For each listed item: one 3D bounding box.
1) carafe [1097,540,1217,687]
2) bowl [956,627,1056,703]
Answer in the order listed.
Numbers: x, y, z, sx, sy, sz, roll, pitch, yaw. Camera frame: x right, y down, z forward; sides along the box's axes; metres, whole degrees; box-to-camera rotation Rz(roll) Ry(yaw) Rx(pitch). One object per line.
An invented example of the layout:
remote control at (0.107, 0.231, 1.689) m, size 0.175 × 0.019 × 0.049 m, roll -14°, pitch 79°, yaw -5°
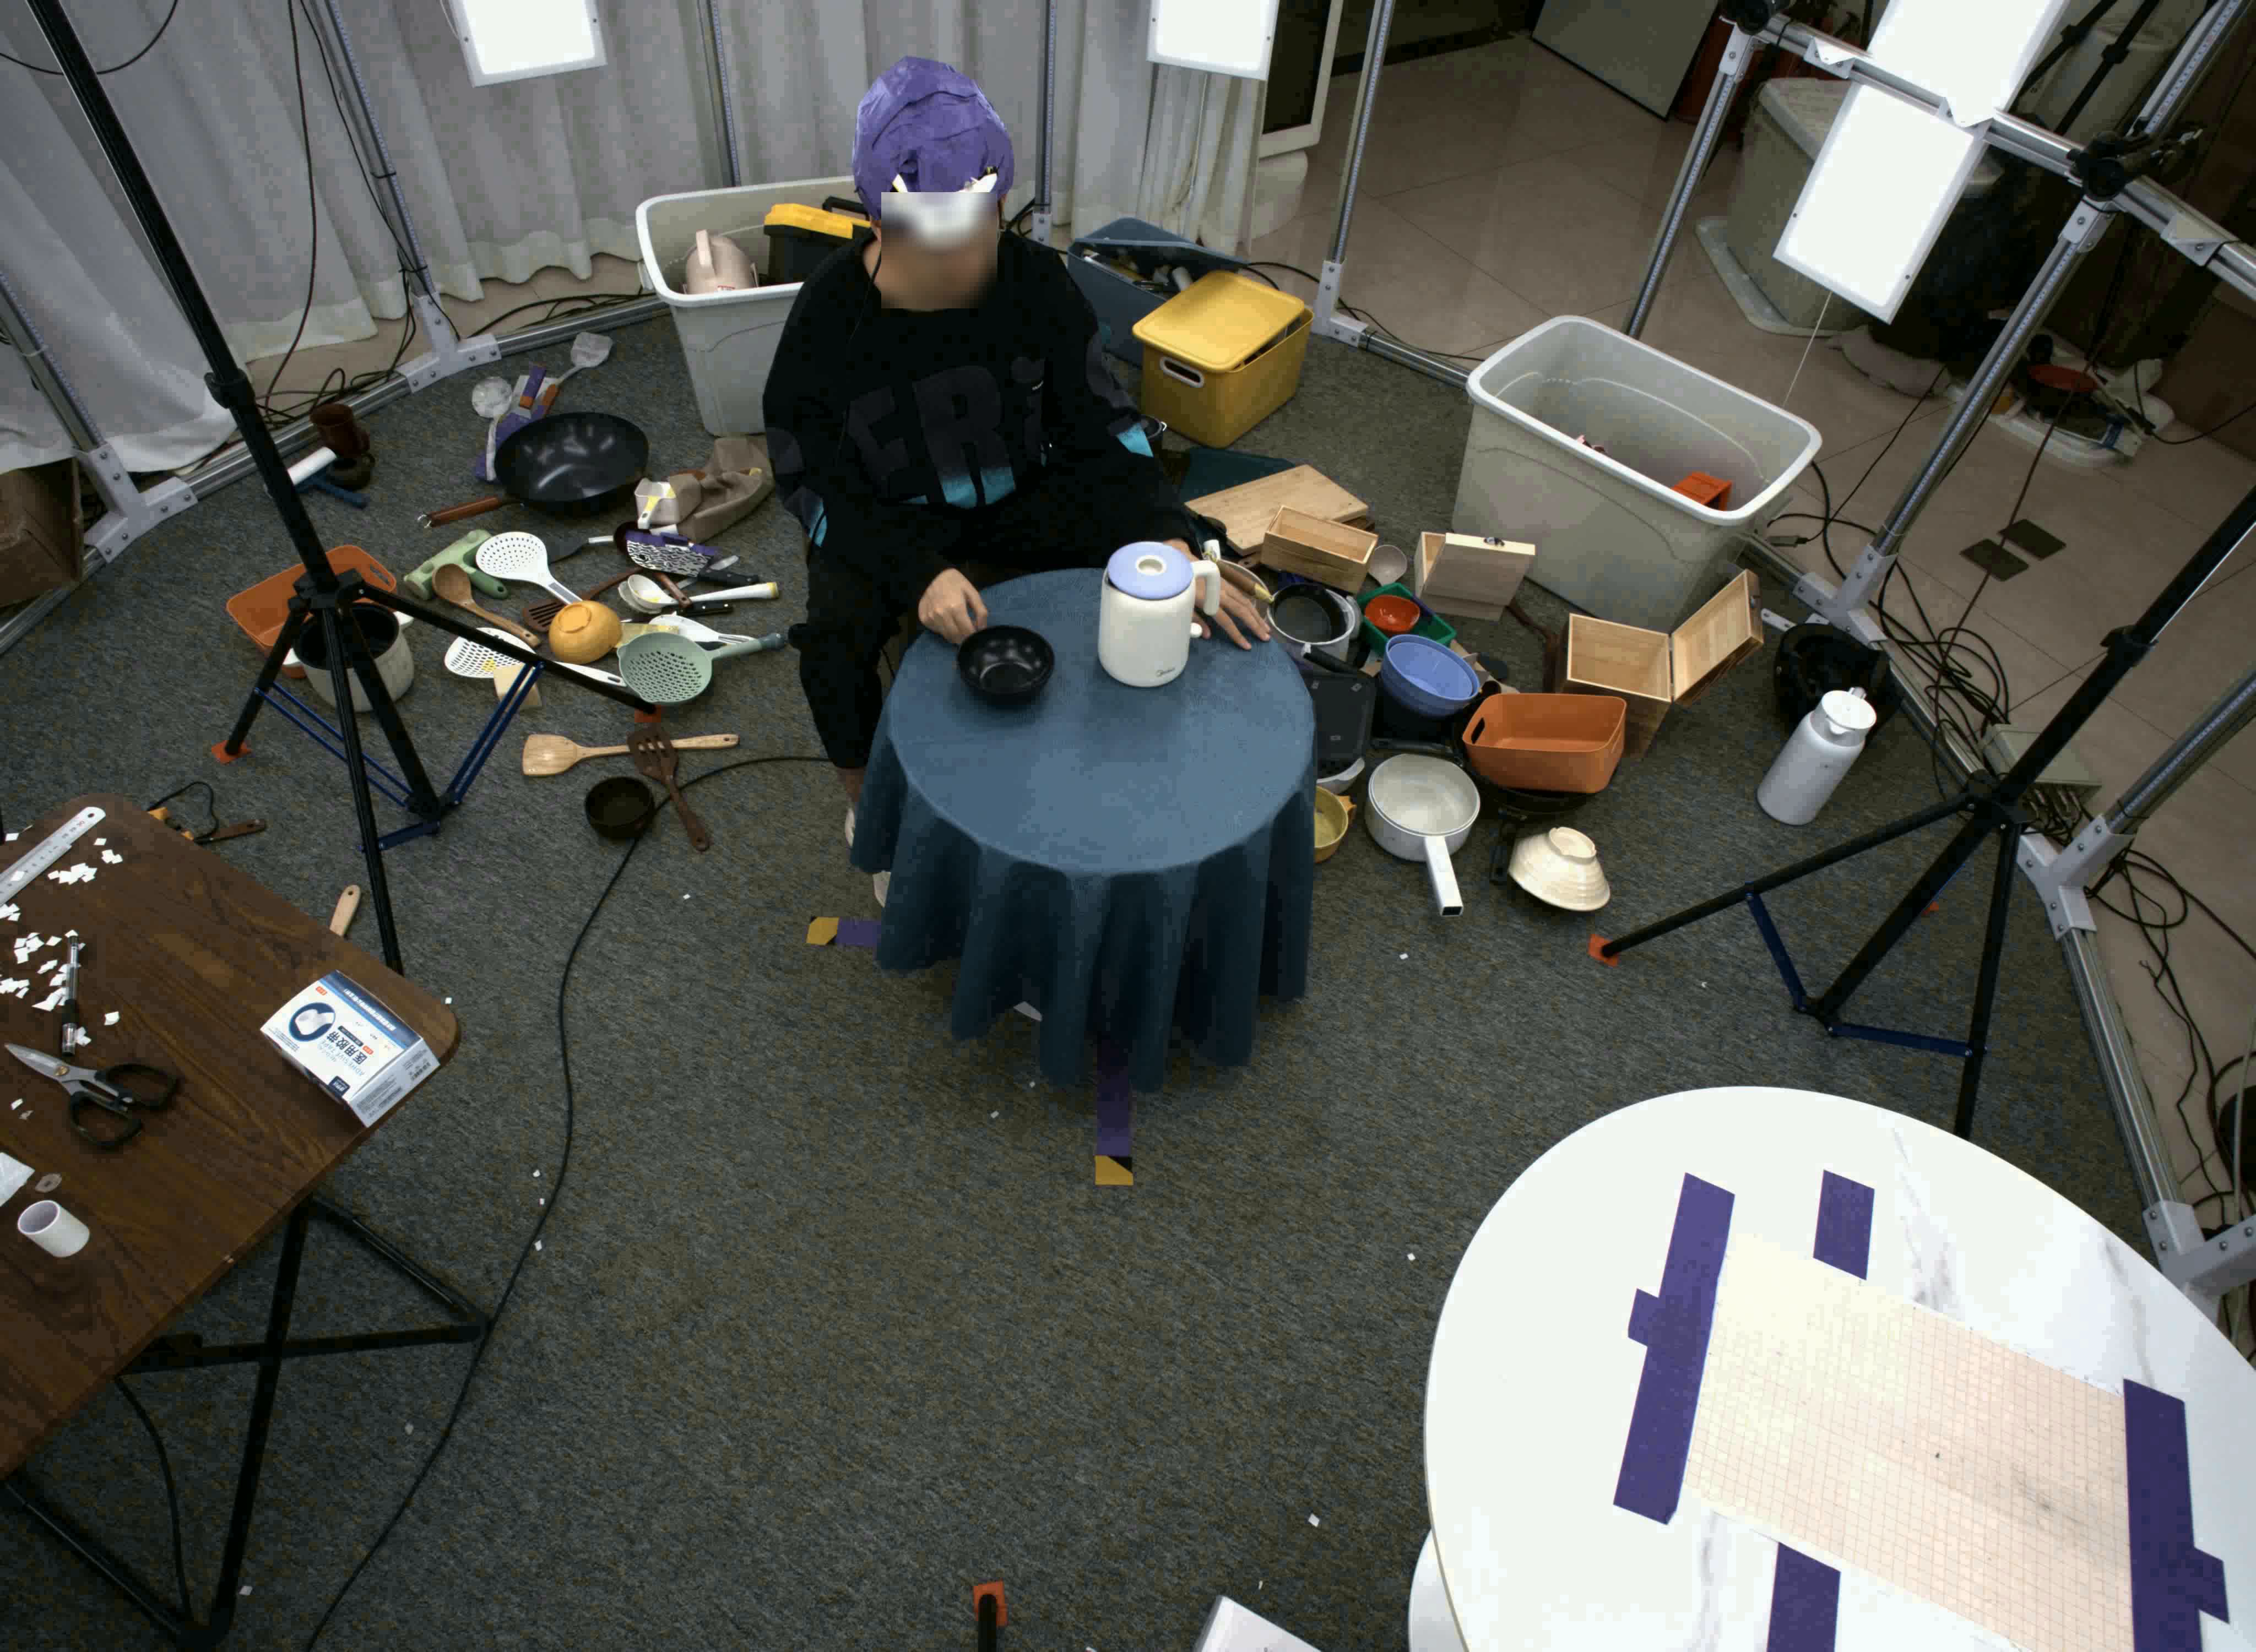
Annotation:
carafe at (0.046, -0.308, 1.828) m, size 0.191 × 0.178 × 0.135 m, roll -20°, pitch 55°, yaw -23°
bowl at (-0.172, -0.219, 1.816) m, size 0.140 × 0.048 × 0.143 m, roll 2°, pitch 47°, yaw -2°
